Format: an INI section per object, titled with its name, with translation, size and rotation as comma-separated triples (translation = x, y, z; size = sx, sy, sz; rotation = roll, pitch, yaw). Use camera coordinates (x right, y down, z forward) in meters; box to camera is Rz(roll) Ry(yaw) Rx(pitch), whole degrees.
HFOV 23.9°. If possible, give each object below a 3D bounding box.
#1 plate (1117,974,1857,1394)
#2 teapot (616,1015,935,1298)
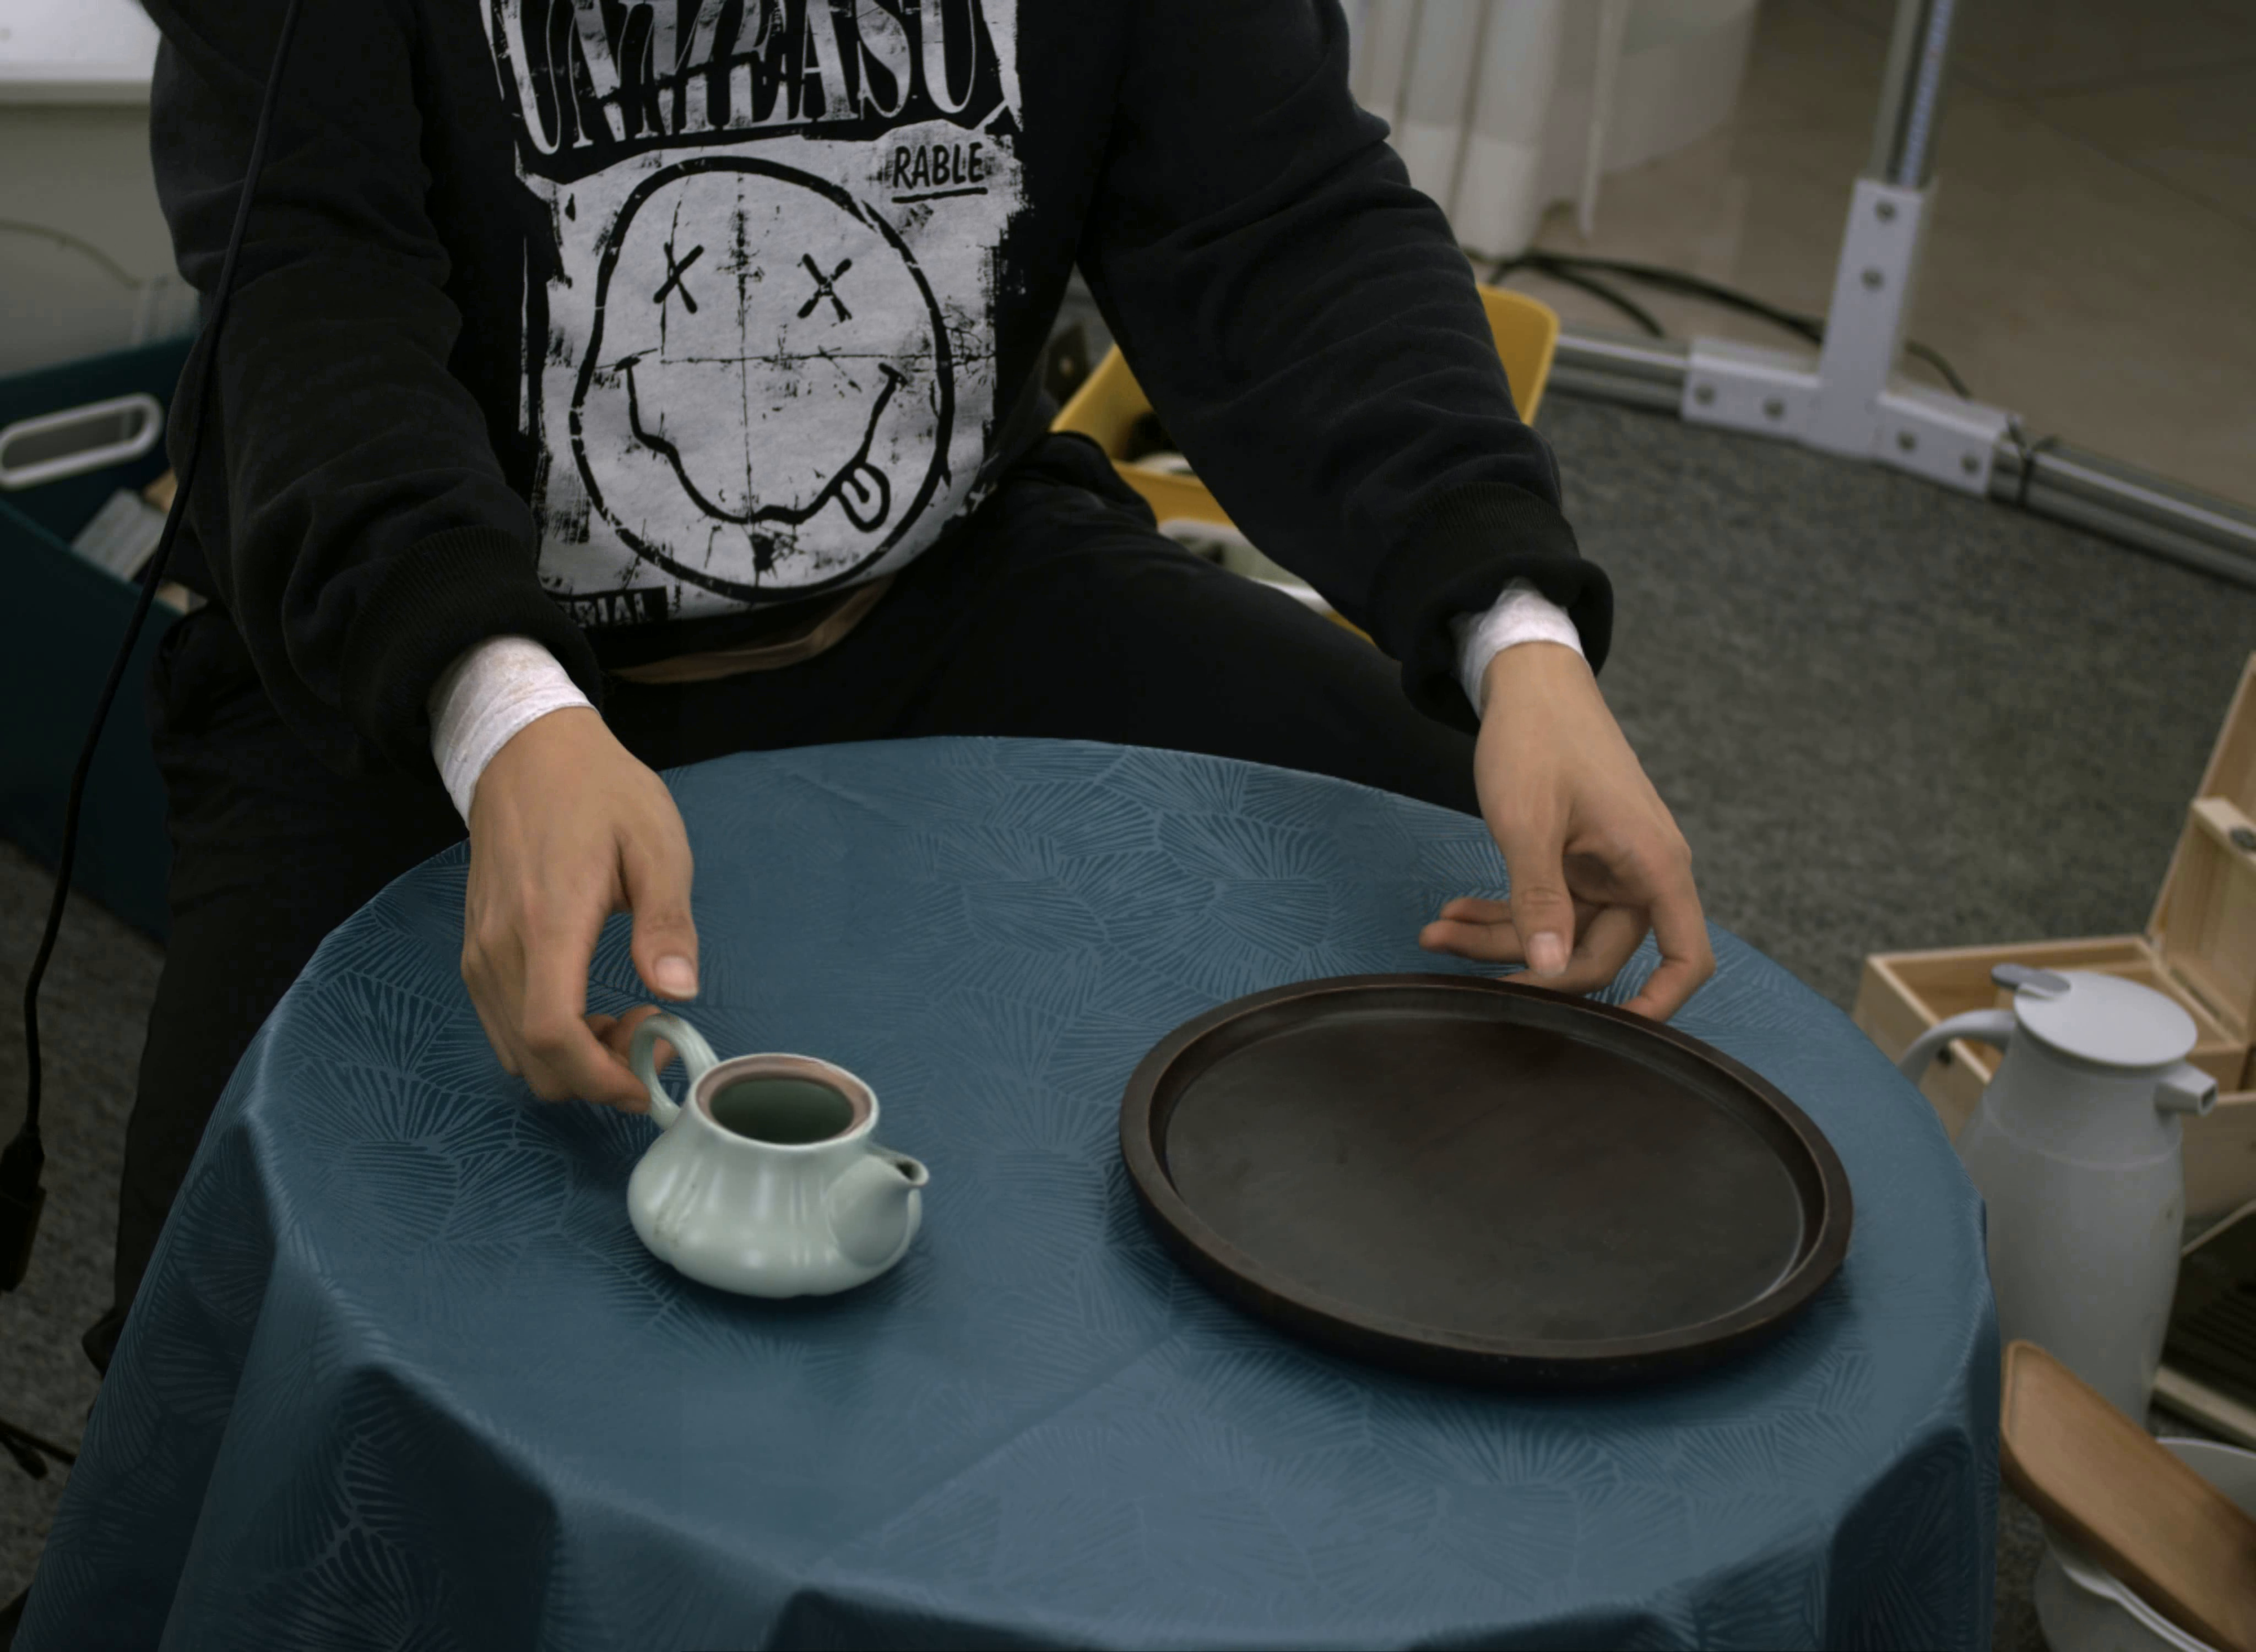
[plate]
translation = 0.121, 0.120, 1.813
size = 0.254, 0.029, 0.256
rotation = 5, 28, -3
[teapot]
translation = -0.118, 0.110, 1.739
size = 0.138, 0.061, 0.096
rotation = 27, 34, 34
